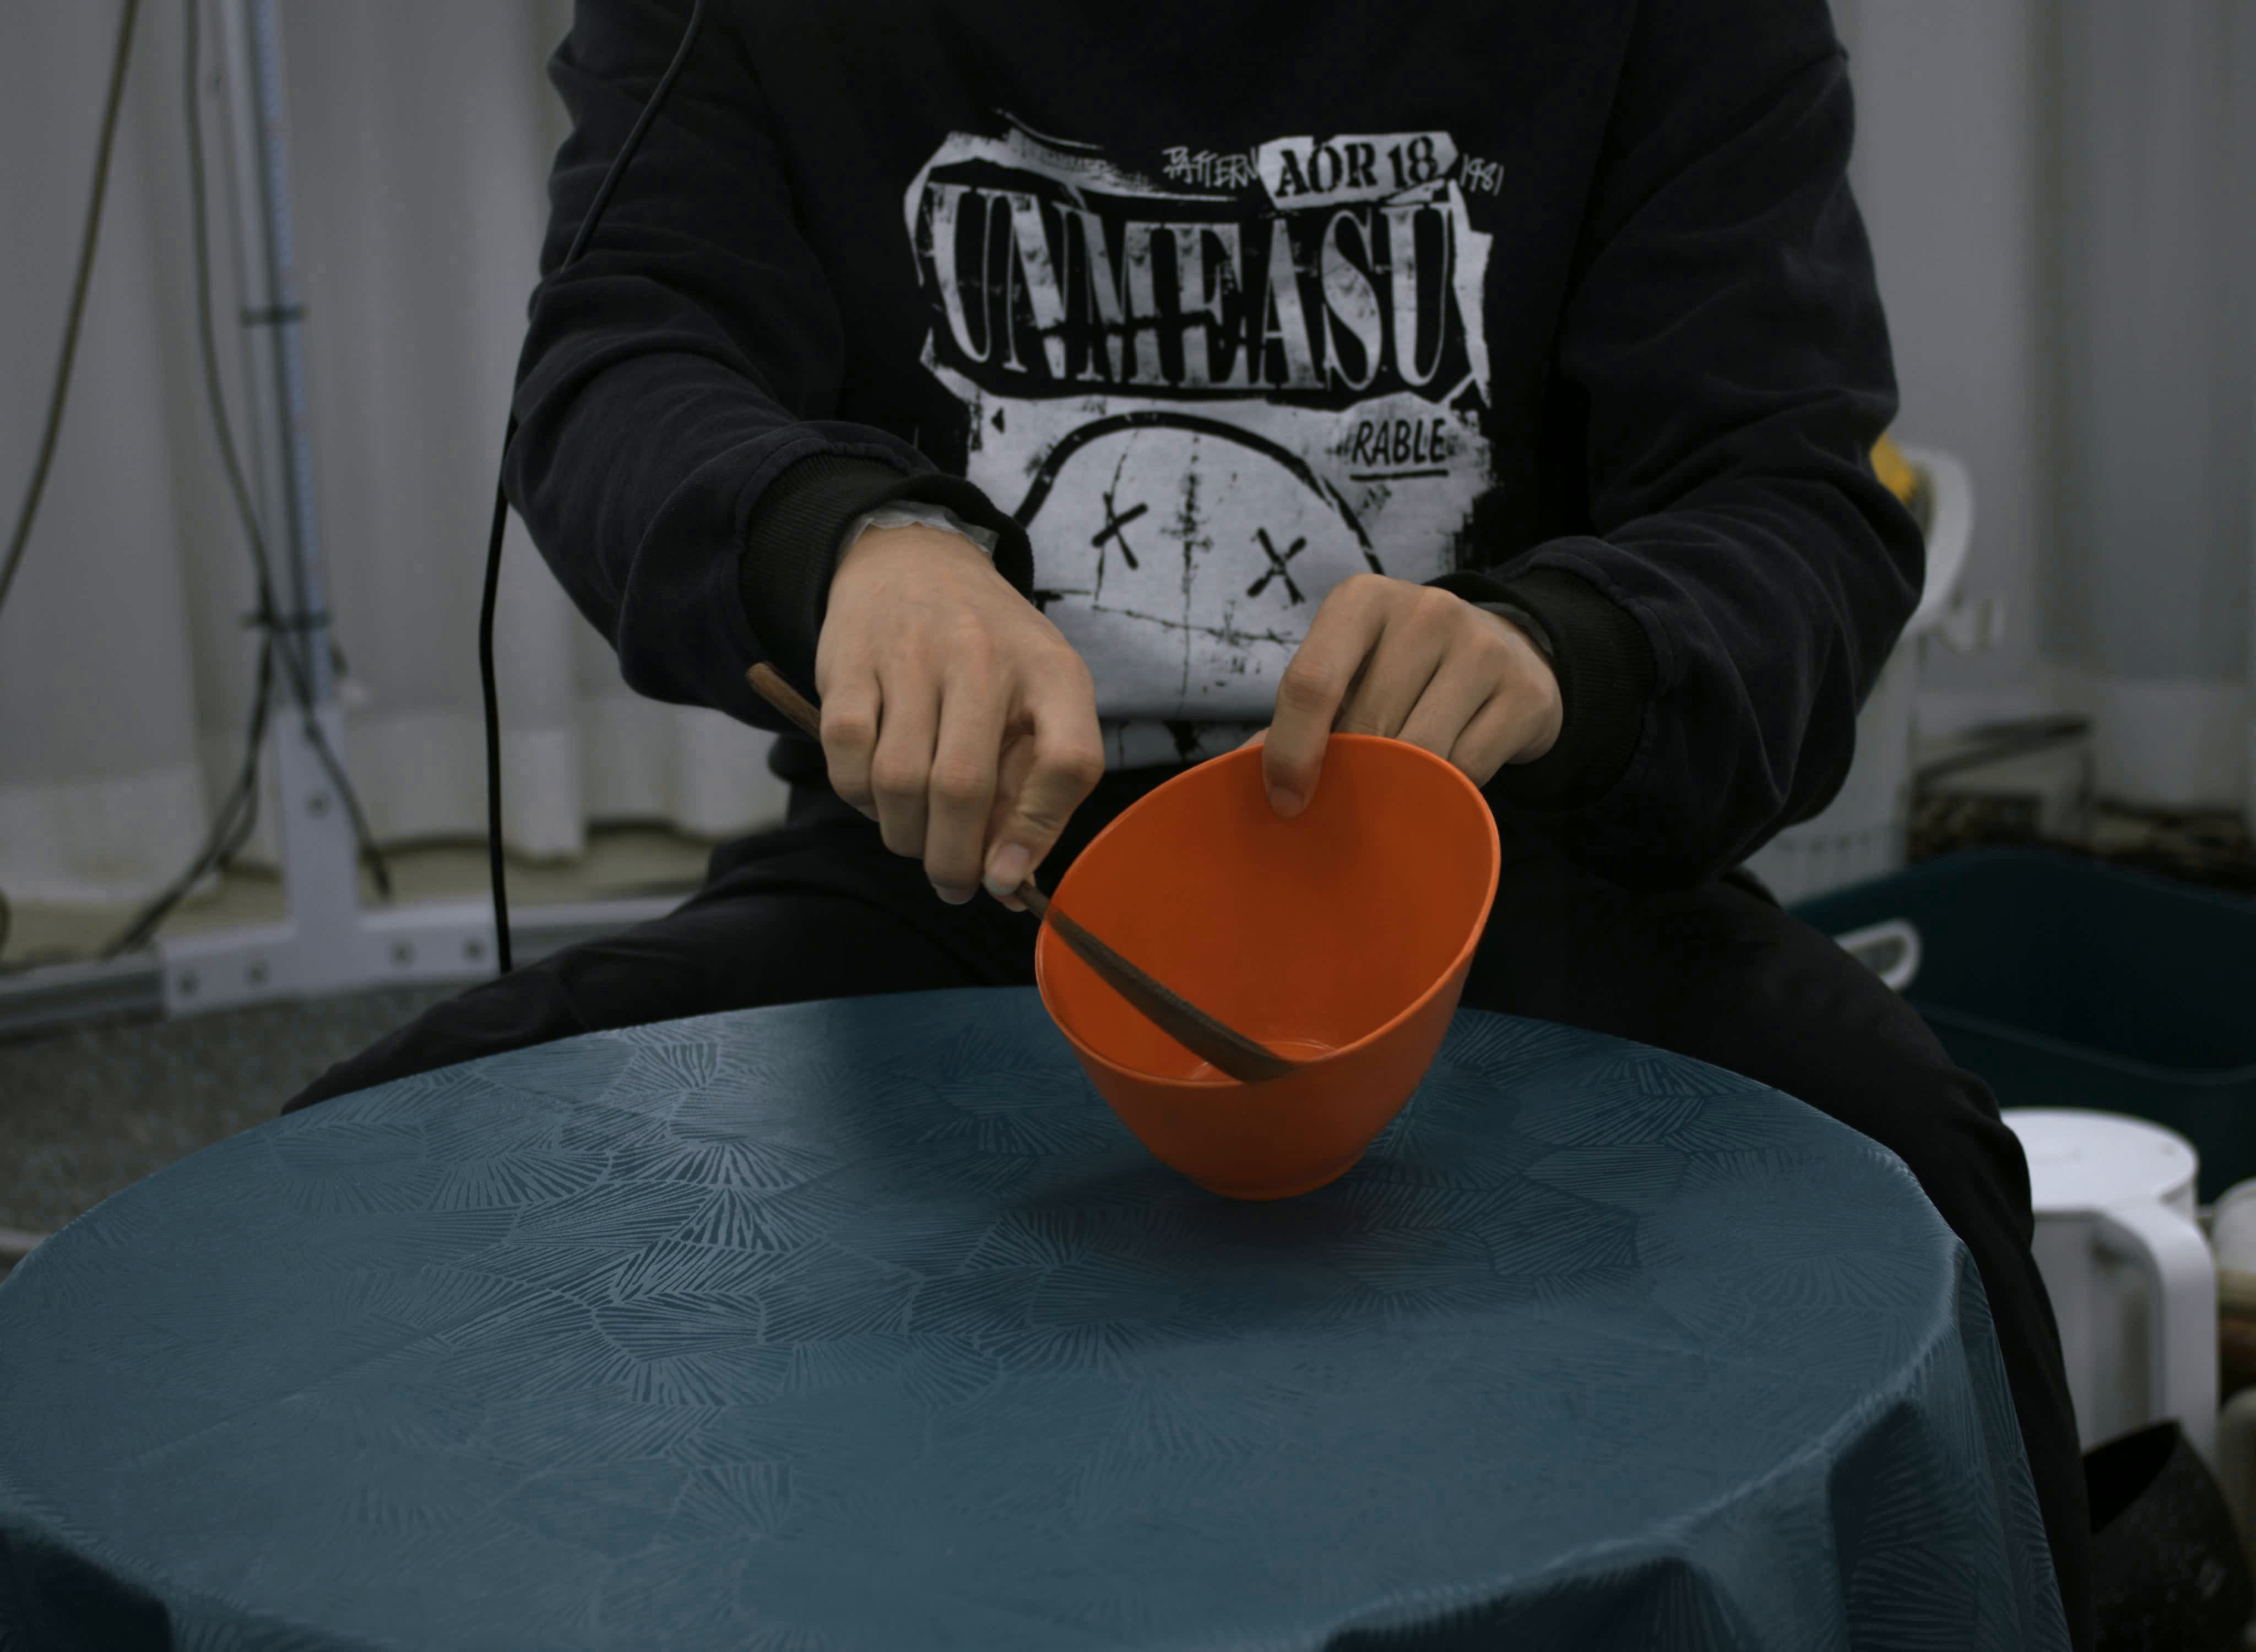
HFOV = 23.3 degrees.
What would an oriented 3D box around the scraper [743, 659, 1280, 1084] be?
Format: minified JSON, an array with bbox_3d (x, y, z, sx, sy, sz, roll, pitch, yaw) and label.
[{"bbox_3d":[-0.037,0.016,1.656,0.212,0.011,0.075,39,-7,14],"label":"scraper"}]

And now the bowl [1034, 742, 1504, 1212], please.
[{"bbox_3d":[0.048,0.057,1.692,0.147,0.103,0.150,-7,39,5],"label":"bowl"}]
